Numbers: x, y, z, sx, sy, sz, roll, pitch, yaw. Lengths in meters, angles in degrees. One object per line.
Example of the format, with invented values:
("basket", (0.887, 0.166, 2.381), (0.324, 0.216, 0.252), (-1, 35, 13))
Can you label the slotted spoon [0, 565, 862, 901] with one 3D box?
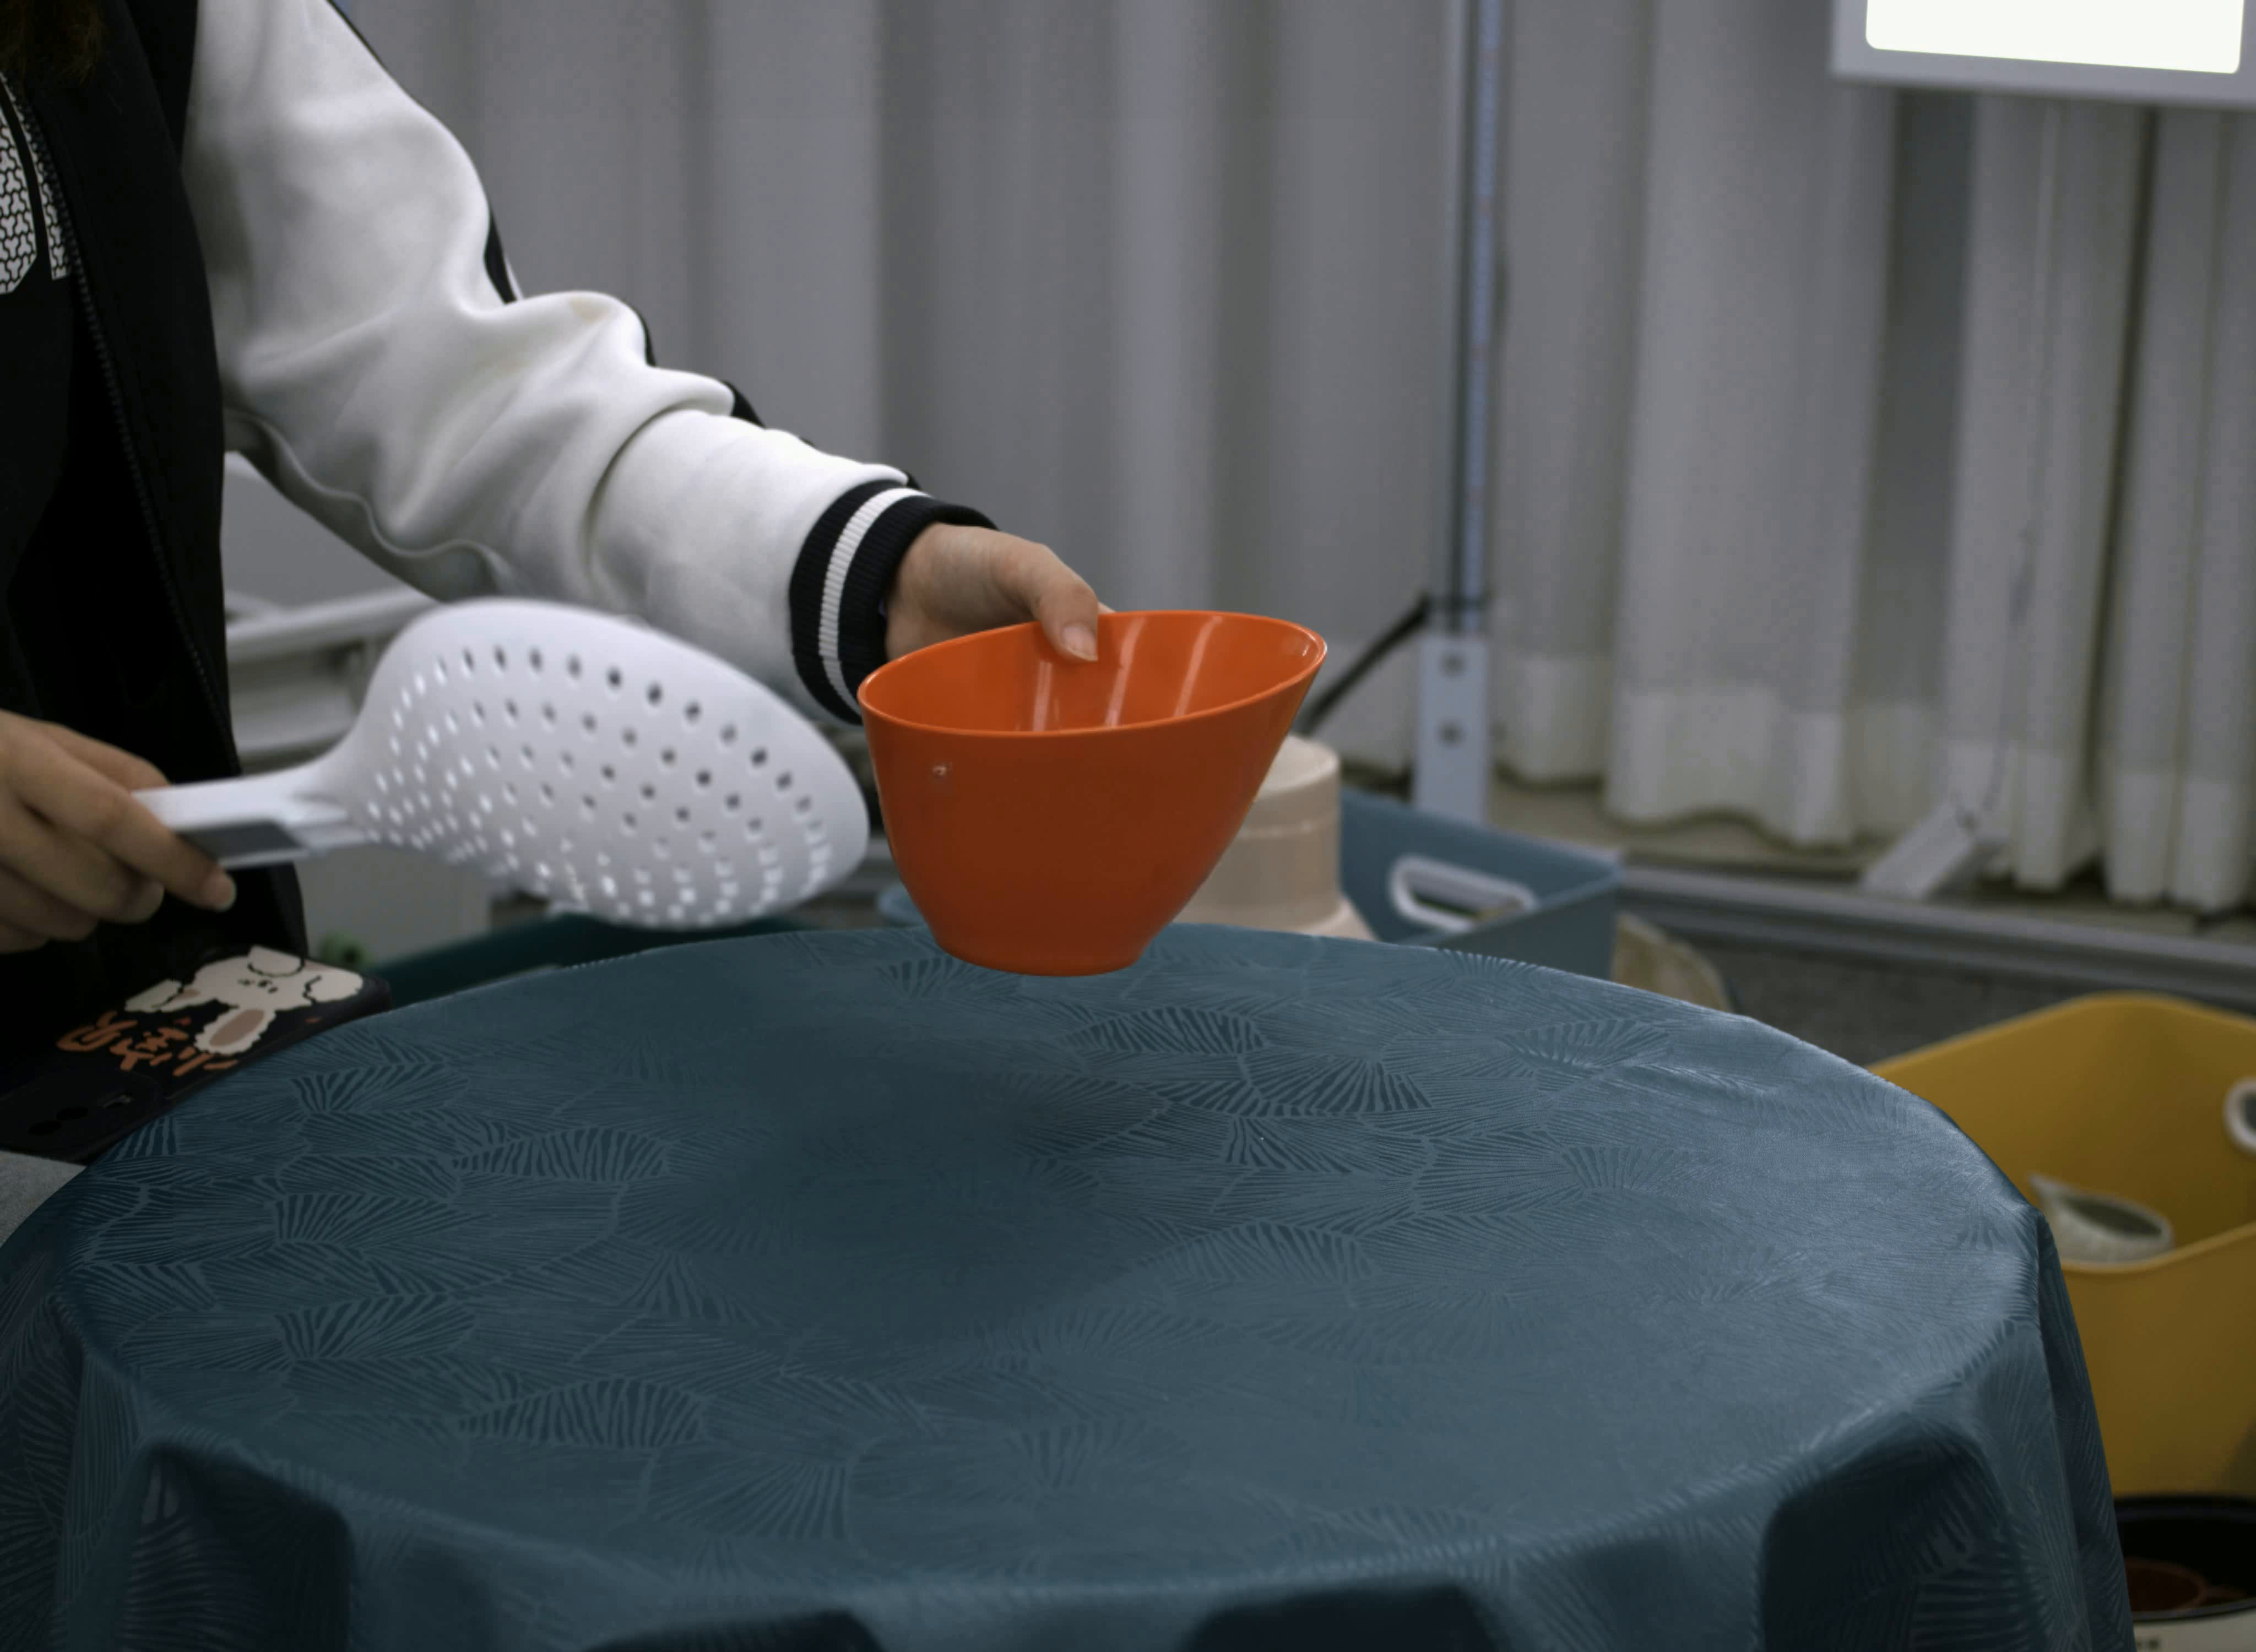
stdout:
("slotted spoon", (-0.218, -0.010, 1.447), (0.346, 0.138, 0.045), (-3, 54, 42))

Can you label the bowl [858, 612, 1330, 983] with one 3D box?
("bowl", (-0.013, -0.009, 1.663), (0.147, 0.105, 0.147), (4, 17, -1))
